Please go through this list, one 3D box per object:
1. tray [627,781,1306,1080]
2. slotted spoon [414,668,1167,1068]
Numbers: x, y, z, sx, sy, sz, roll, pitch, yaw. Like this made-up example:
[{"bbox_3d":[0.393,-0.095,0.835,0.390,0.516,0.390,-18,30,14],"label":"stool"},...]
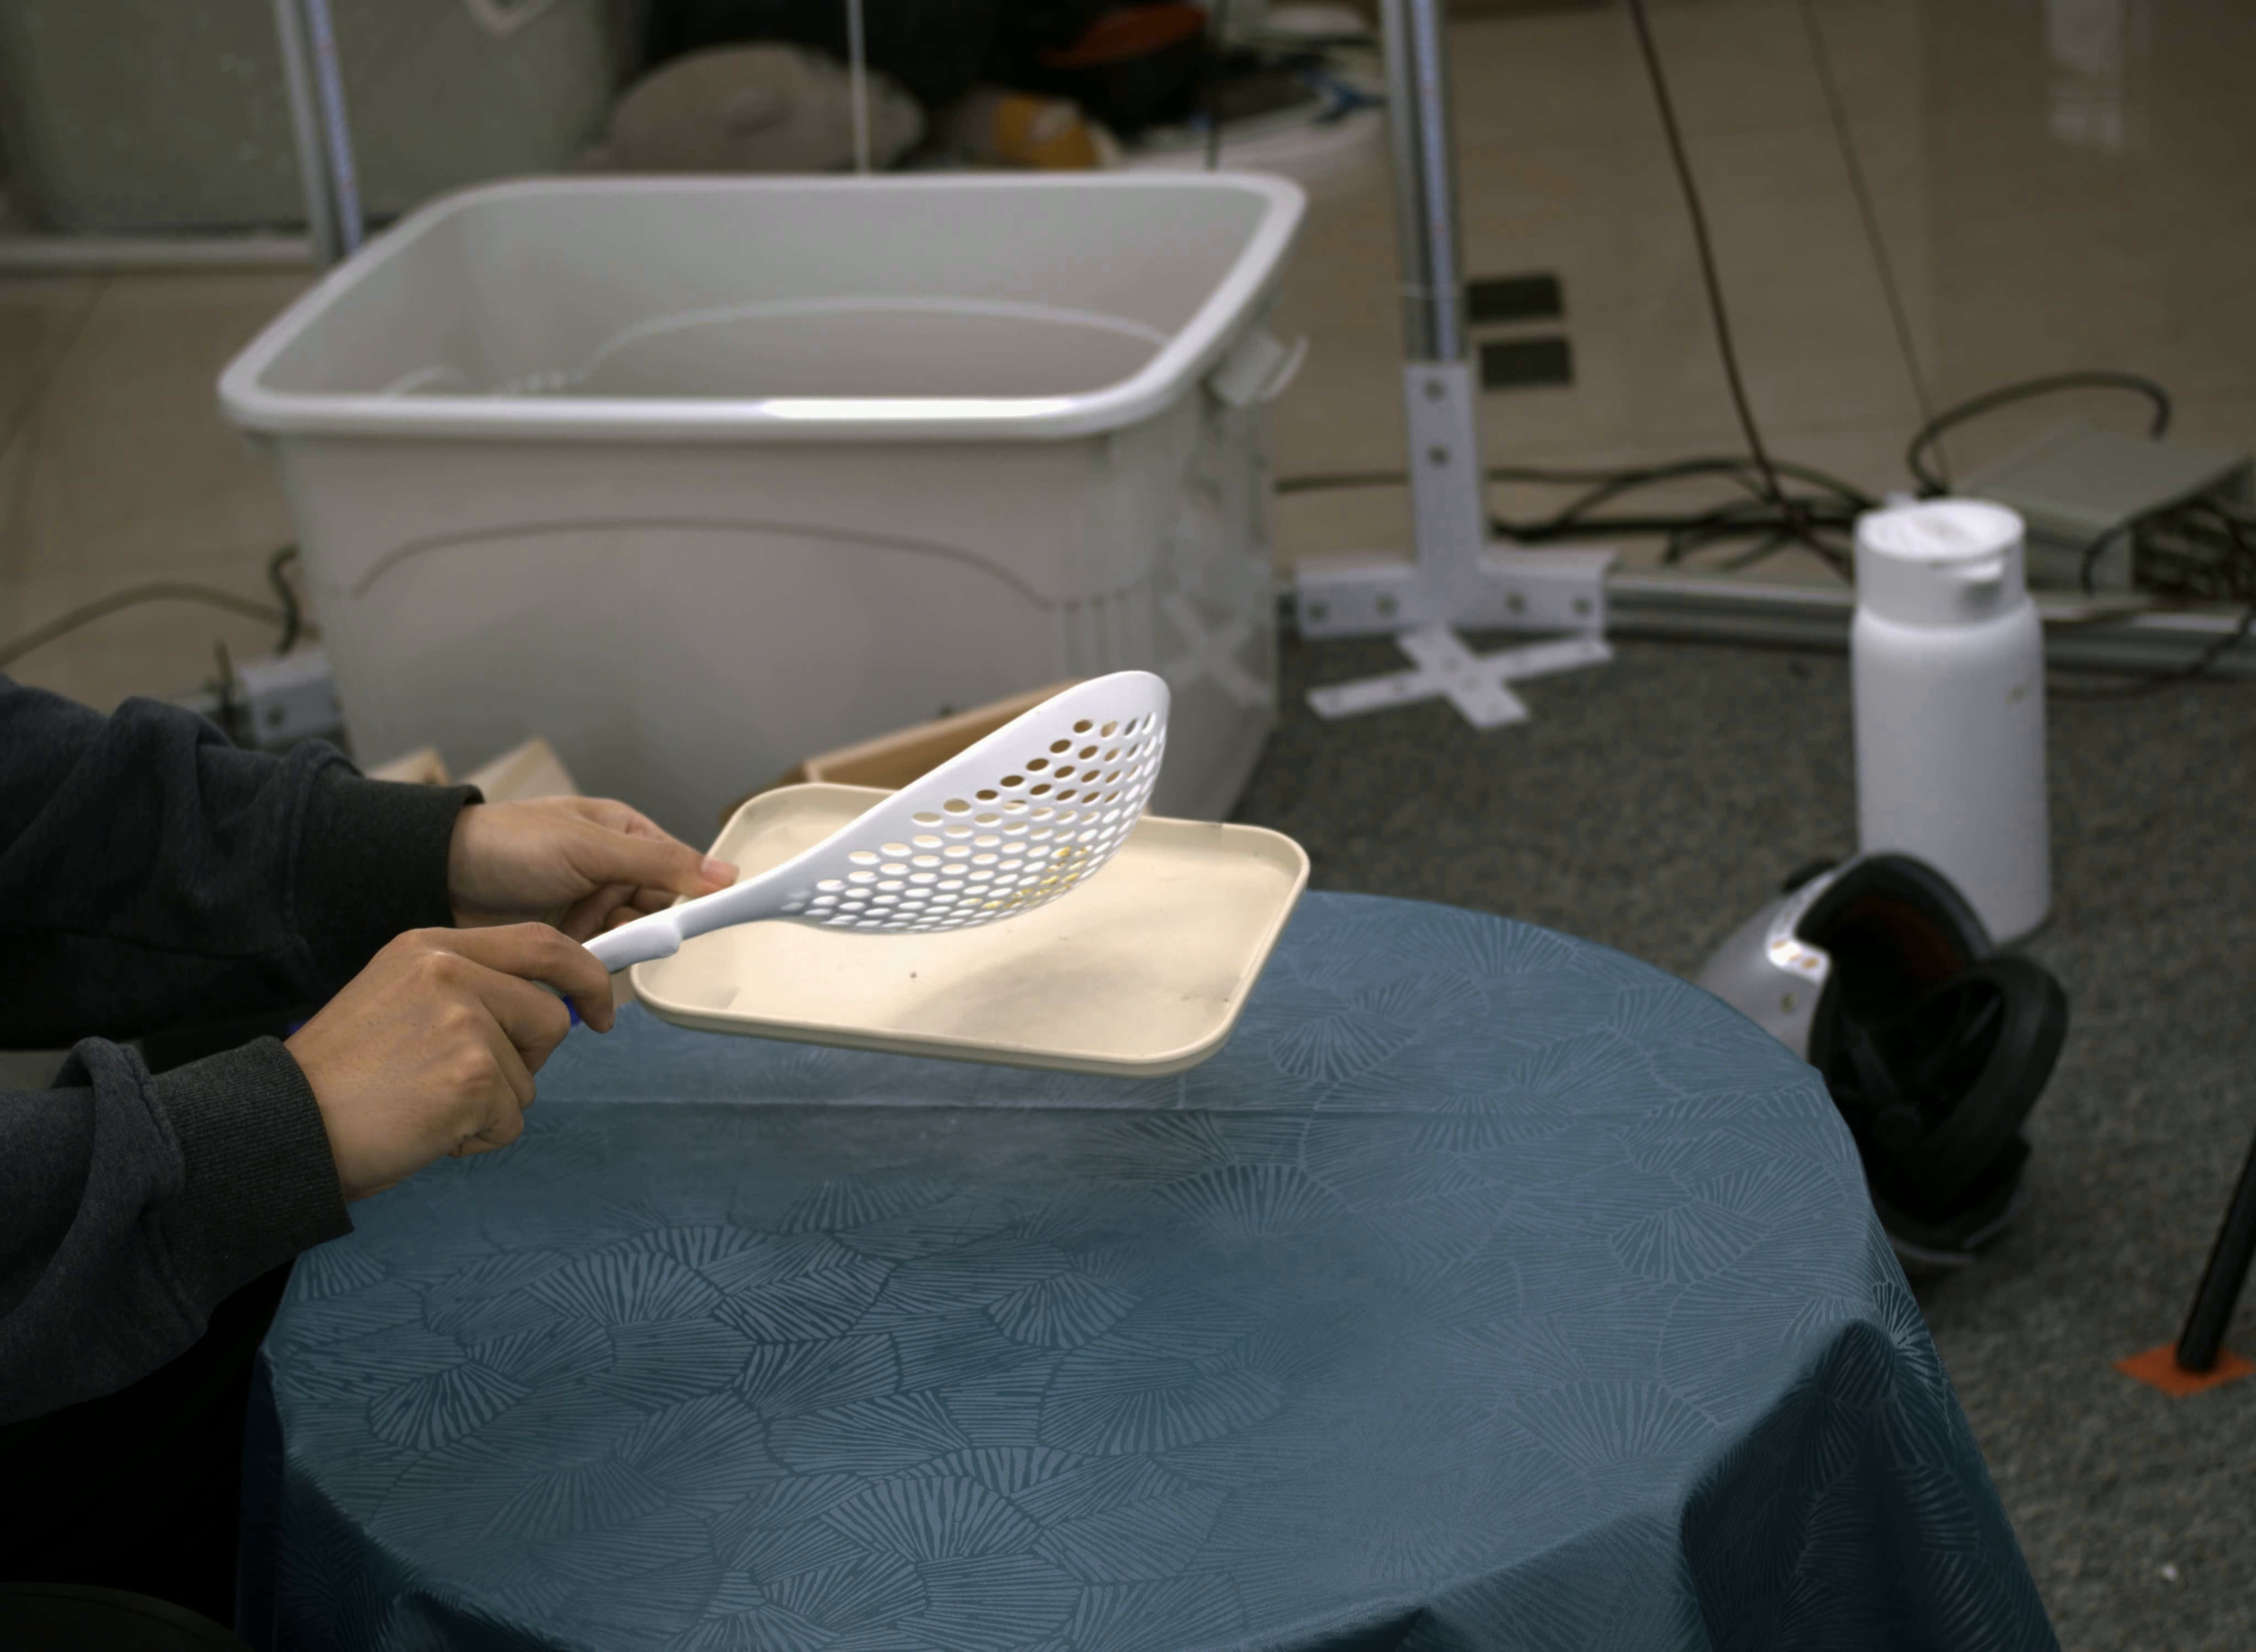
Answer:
[{"bbox_3d":[-0.061,0.040,2.179,0.239,0.018,0.168,6,34,17],"label":"tray"},{"bbox_3d":[-0.119,0.028,2.031,0.346,0.139,0.050,-15,62,-35],"label":"slotted spoon"}]
